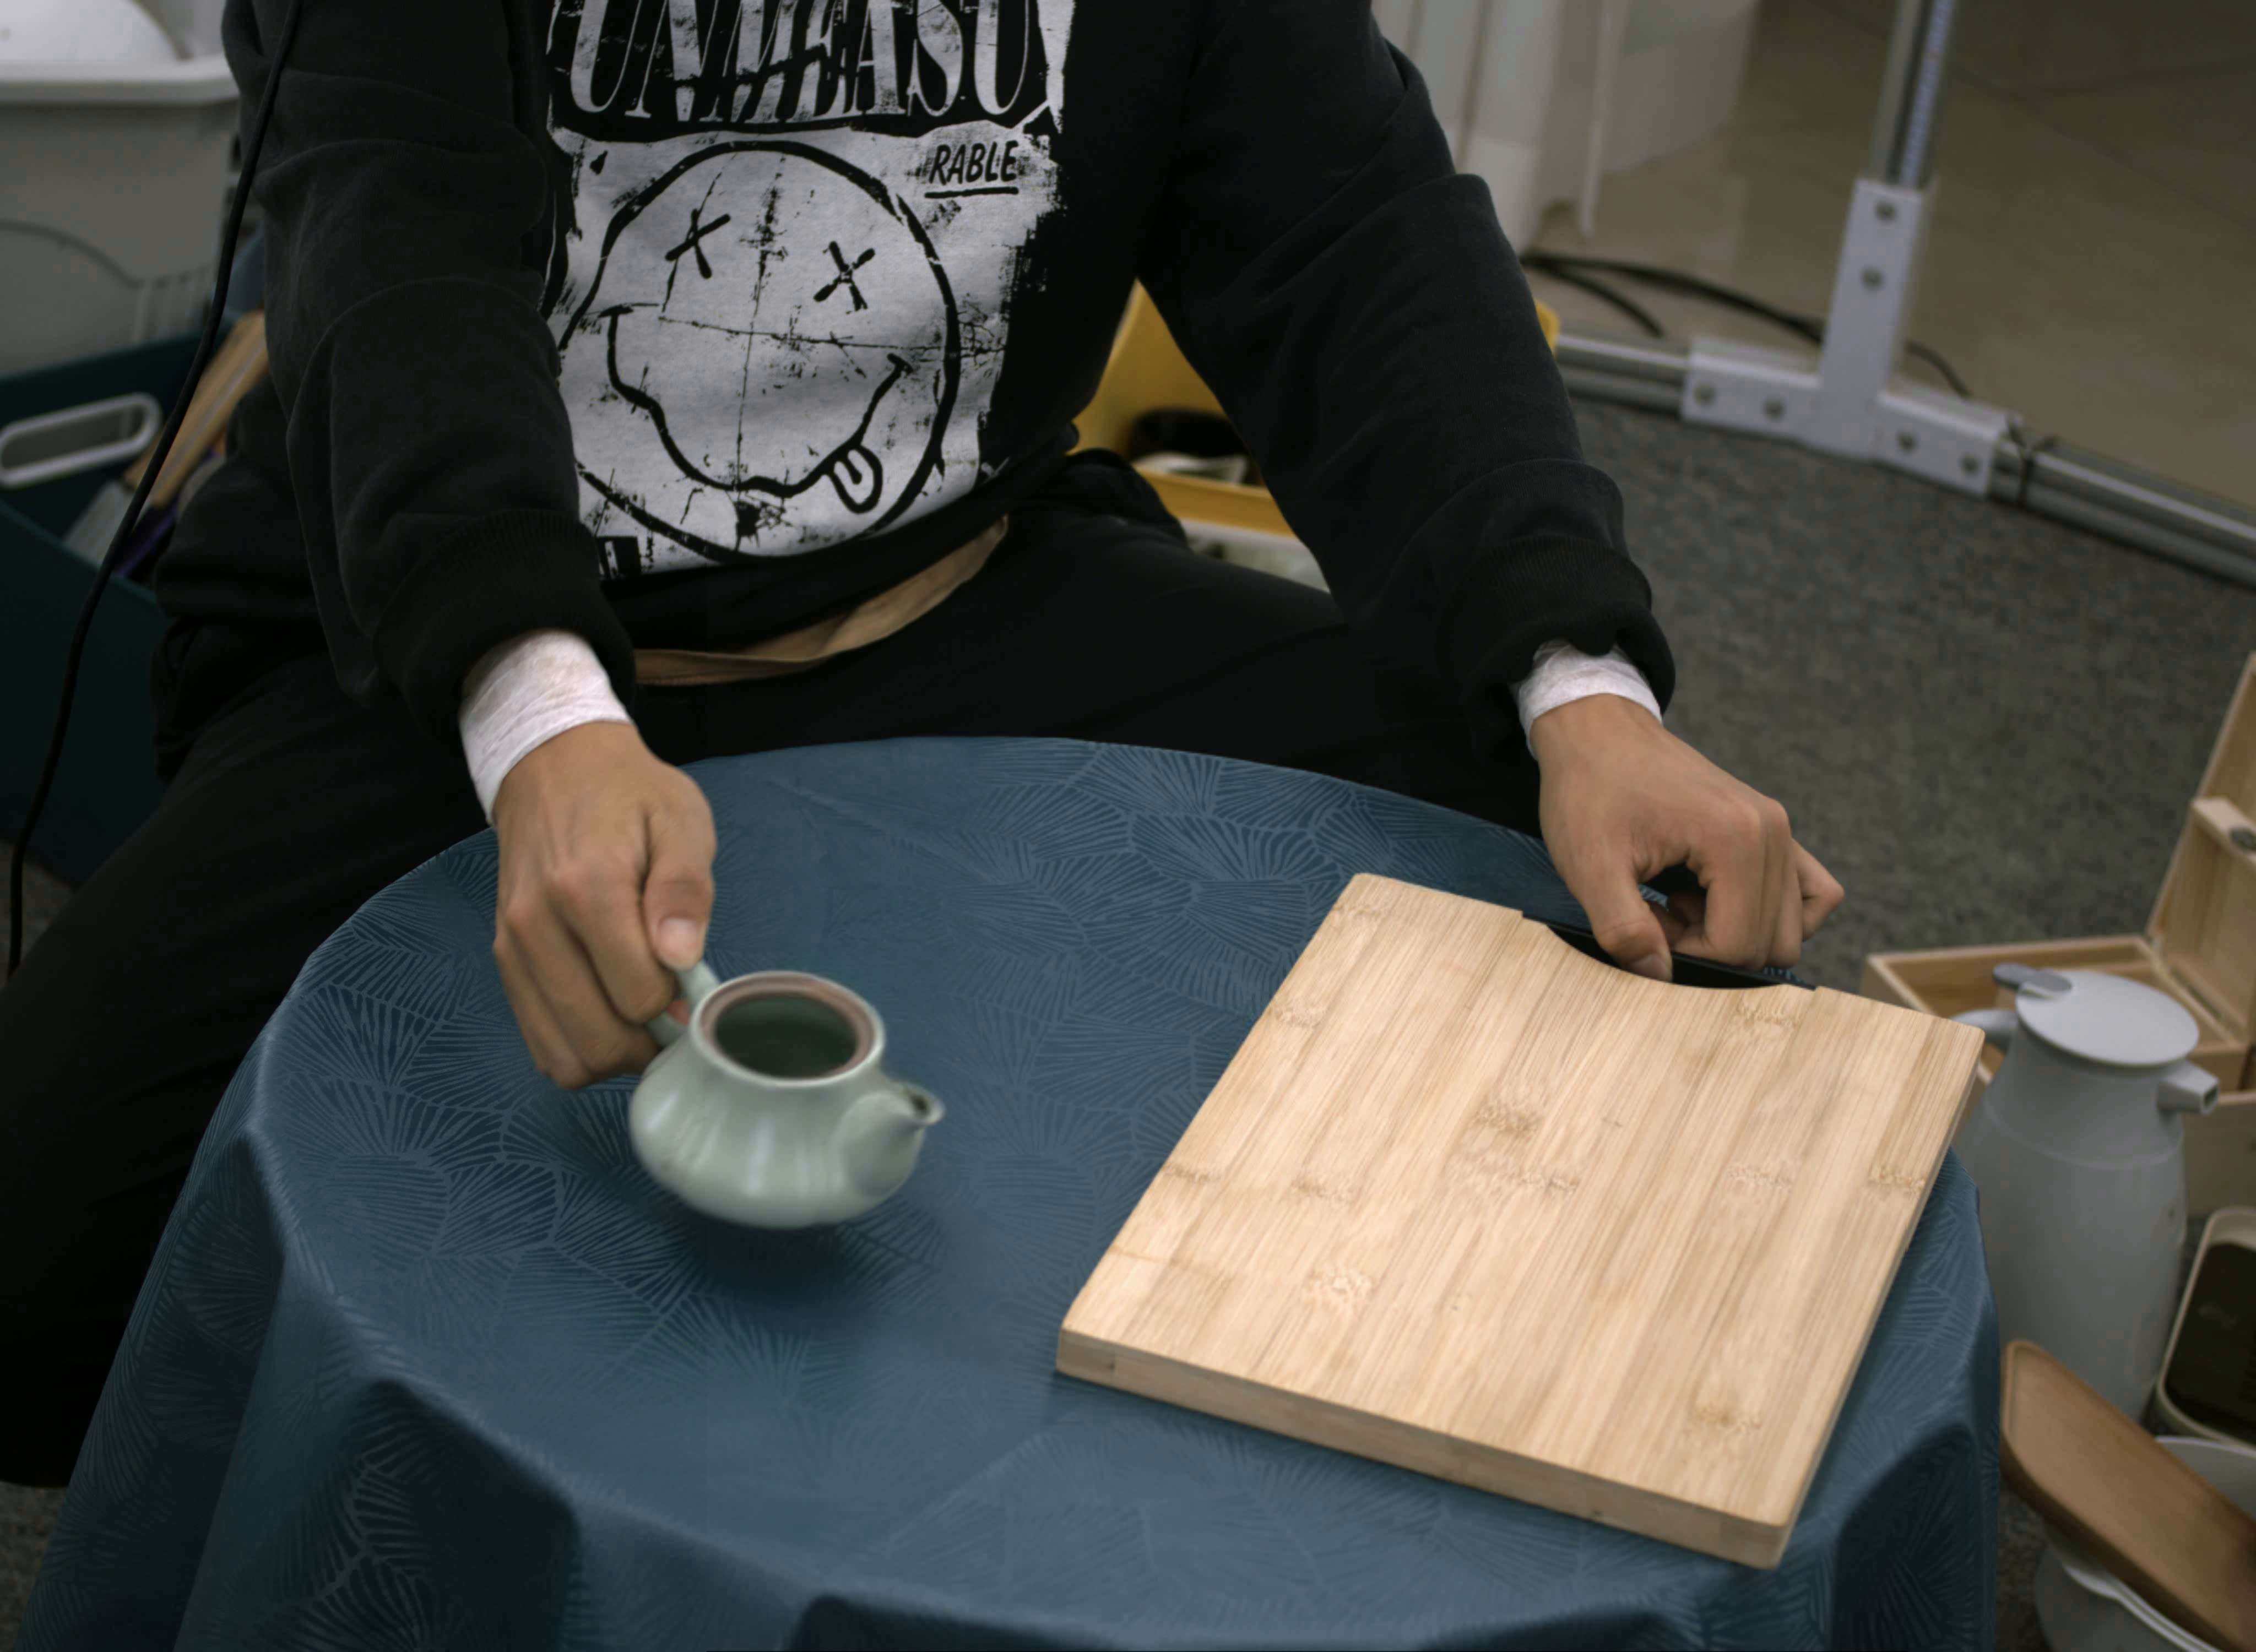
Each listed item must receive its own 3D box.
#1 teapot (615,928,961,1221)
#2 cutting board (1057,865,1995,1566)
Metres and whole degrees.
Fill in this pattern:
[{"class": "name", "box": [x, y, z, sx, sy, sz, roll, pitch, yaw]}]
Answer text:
[{"class": "teapot", "box": [-0.114, 0.082, 1.735, 0.138, 0.061, 0.096, 28, 40, 25]}, {"class": "cutting board", "box": [0.145, 0.122, 1.814, 0.251, 0.023, 0.349, 13, 29, 13]}]
